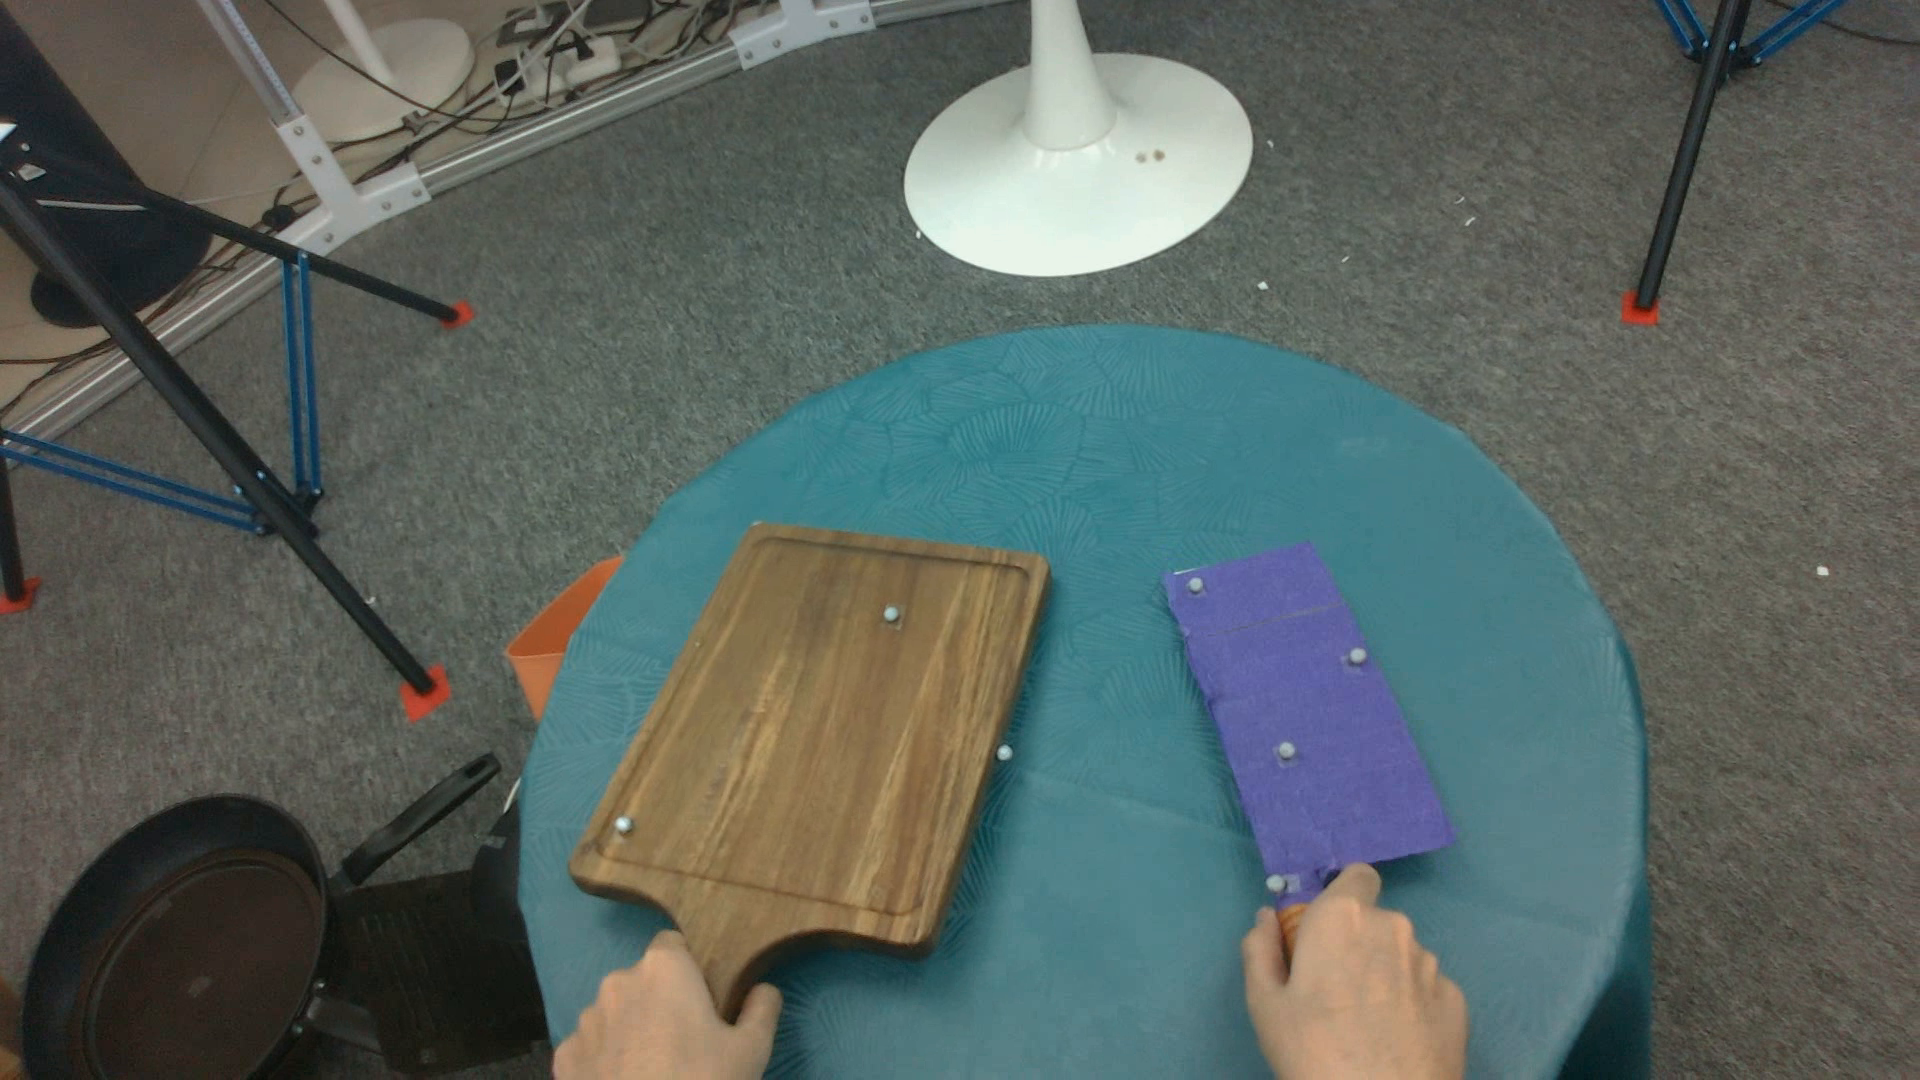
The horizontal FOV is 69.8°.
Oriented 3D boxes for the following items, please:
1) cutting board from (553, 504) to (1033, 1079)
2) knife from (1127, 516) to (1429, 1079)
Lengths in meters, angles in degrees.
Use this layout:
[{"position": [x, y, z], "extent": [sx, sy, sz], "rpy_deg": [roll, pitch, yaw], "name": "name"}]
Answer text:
[{"position": [-0.094, 0.119, 0.718], "extent": [0.201, 0.023, 0.354], "rpy_deg": [6, 49, 16], "name": "cutting board"}, {"position": [0.171, 0.101, 0.682], "extent": [0.104, 0.032, 0.316], "rpy_deg": [-14, 47, 0], "name": "knife"}]
